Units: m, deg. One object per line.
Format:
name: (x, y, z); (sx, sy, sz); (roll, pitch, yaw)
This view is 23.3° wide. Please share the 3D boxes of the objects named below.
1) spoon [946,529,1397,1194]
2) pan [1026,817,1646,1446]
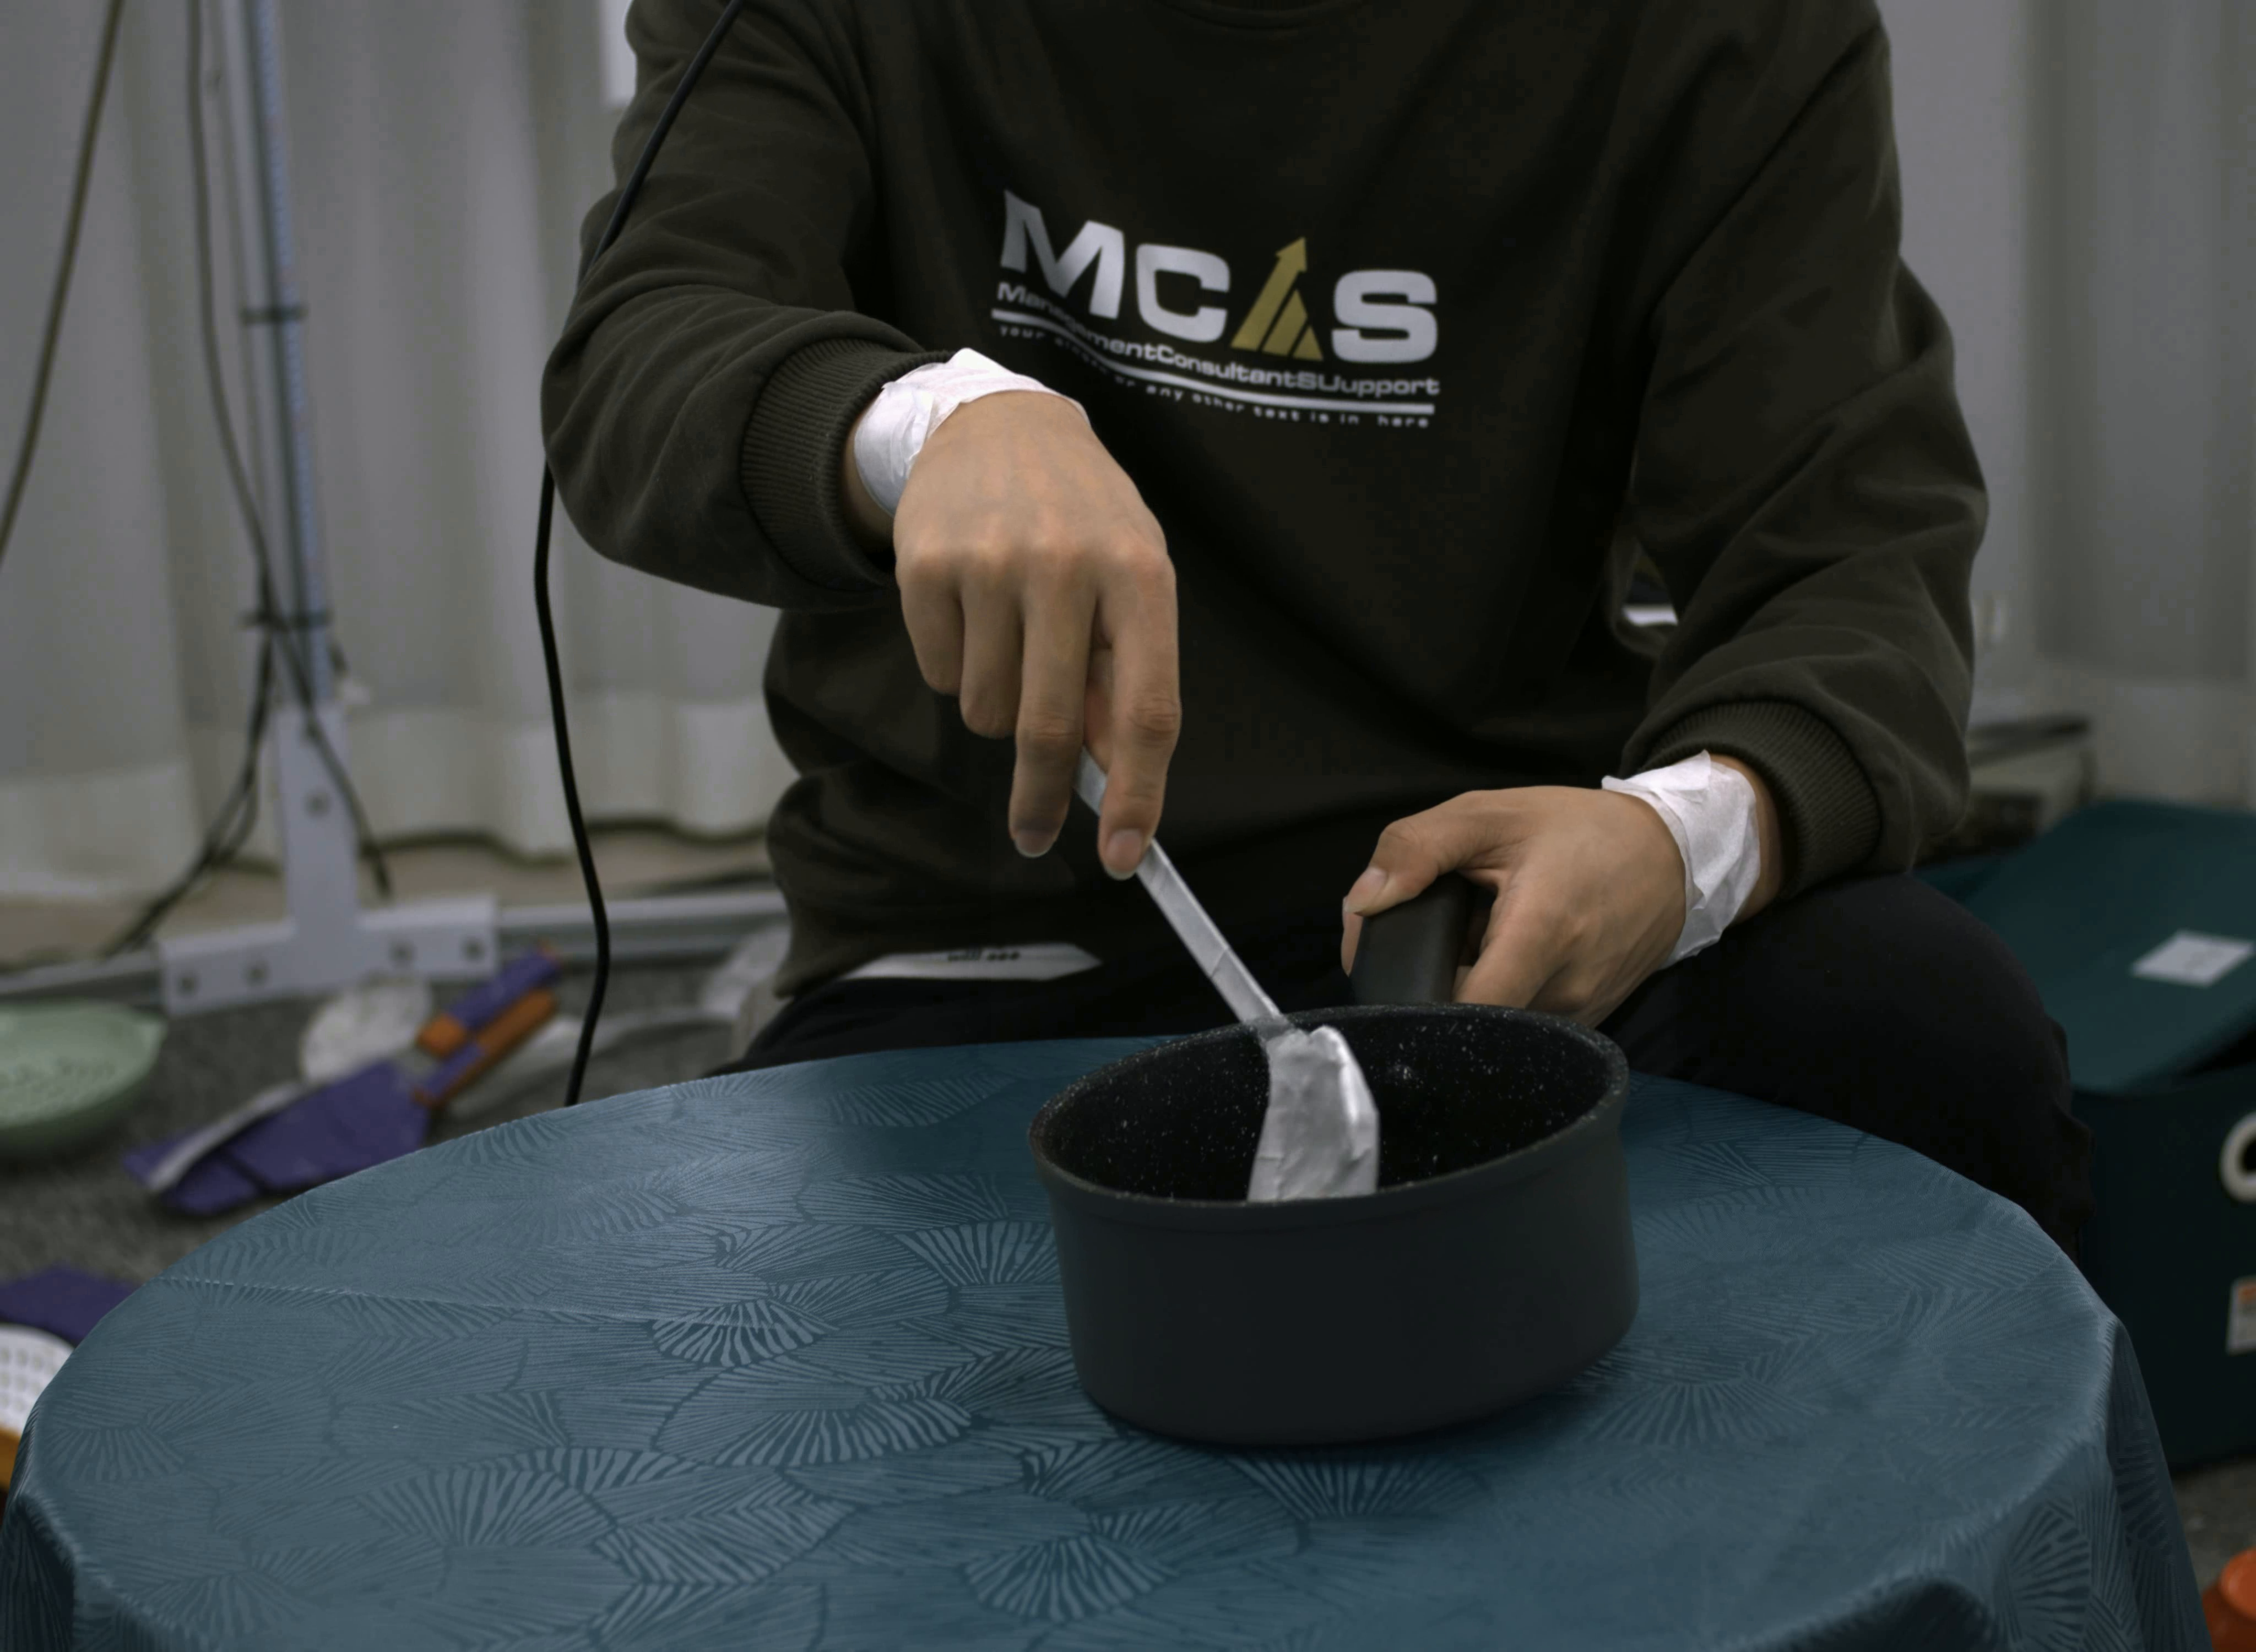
spoon: (0.001, 0.019, 1.593); (0.059, 0.100, 0.280); (-10, 57, -42)
pan: (0.078, 0.086, 1.620); (0.172, 0.086, 0.330); (-3, 17, 14)
